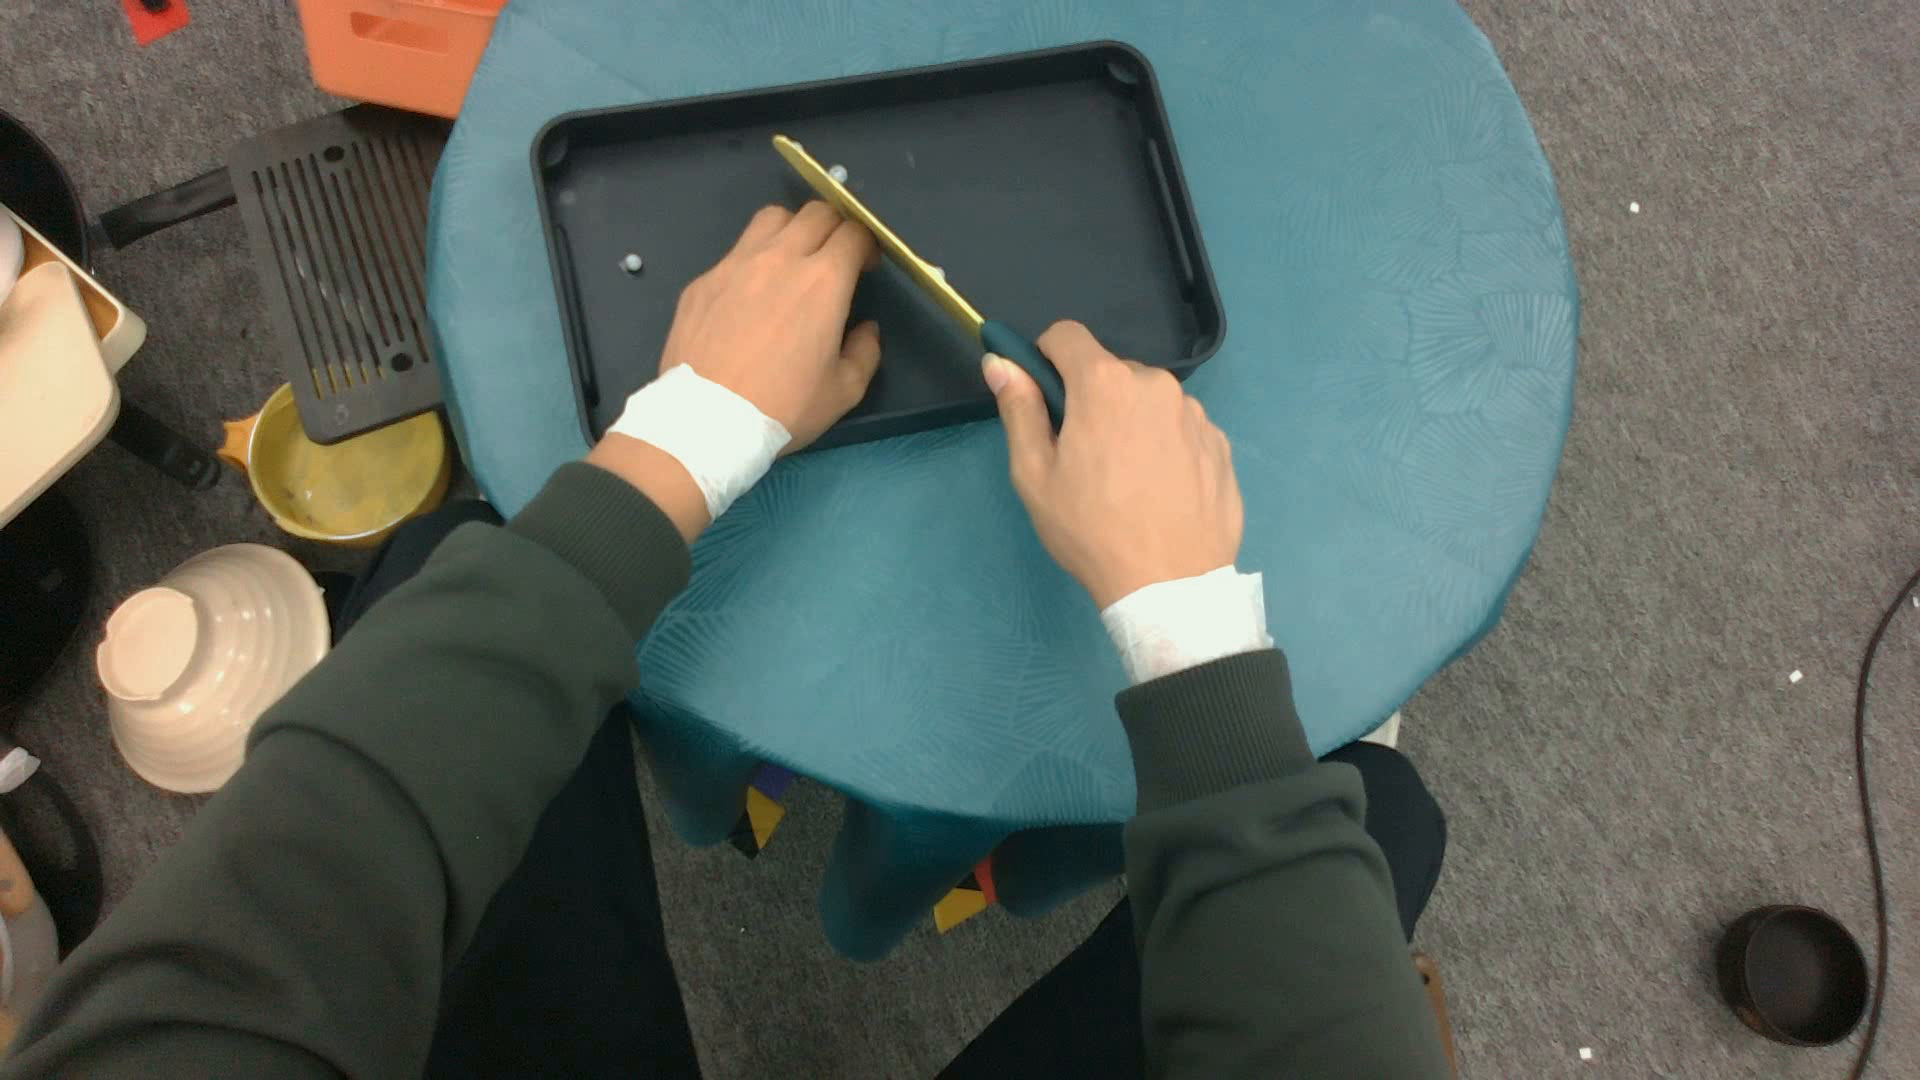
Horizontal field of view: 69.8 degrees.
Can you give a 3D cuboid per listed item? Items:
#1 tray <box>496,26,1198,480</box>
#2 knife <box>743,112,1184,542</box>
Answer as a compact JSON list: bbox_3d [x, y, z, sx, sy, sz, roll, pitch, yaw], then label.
[{"bbox_3d":[-0.053,-0.147,0.687,0.318,0.037,0.184,-13,77,-11],"label":"tray"},{"bbox_3d":[-0.005,-0.104,0.636,0.027,0.081,0.289,-45,79,3],"label":"knife"}]
